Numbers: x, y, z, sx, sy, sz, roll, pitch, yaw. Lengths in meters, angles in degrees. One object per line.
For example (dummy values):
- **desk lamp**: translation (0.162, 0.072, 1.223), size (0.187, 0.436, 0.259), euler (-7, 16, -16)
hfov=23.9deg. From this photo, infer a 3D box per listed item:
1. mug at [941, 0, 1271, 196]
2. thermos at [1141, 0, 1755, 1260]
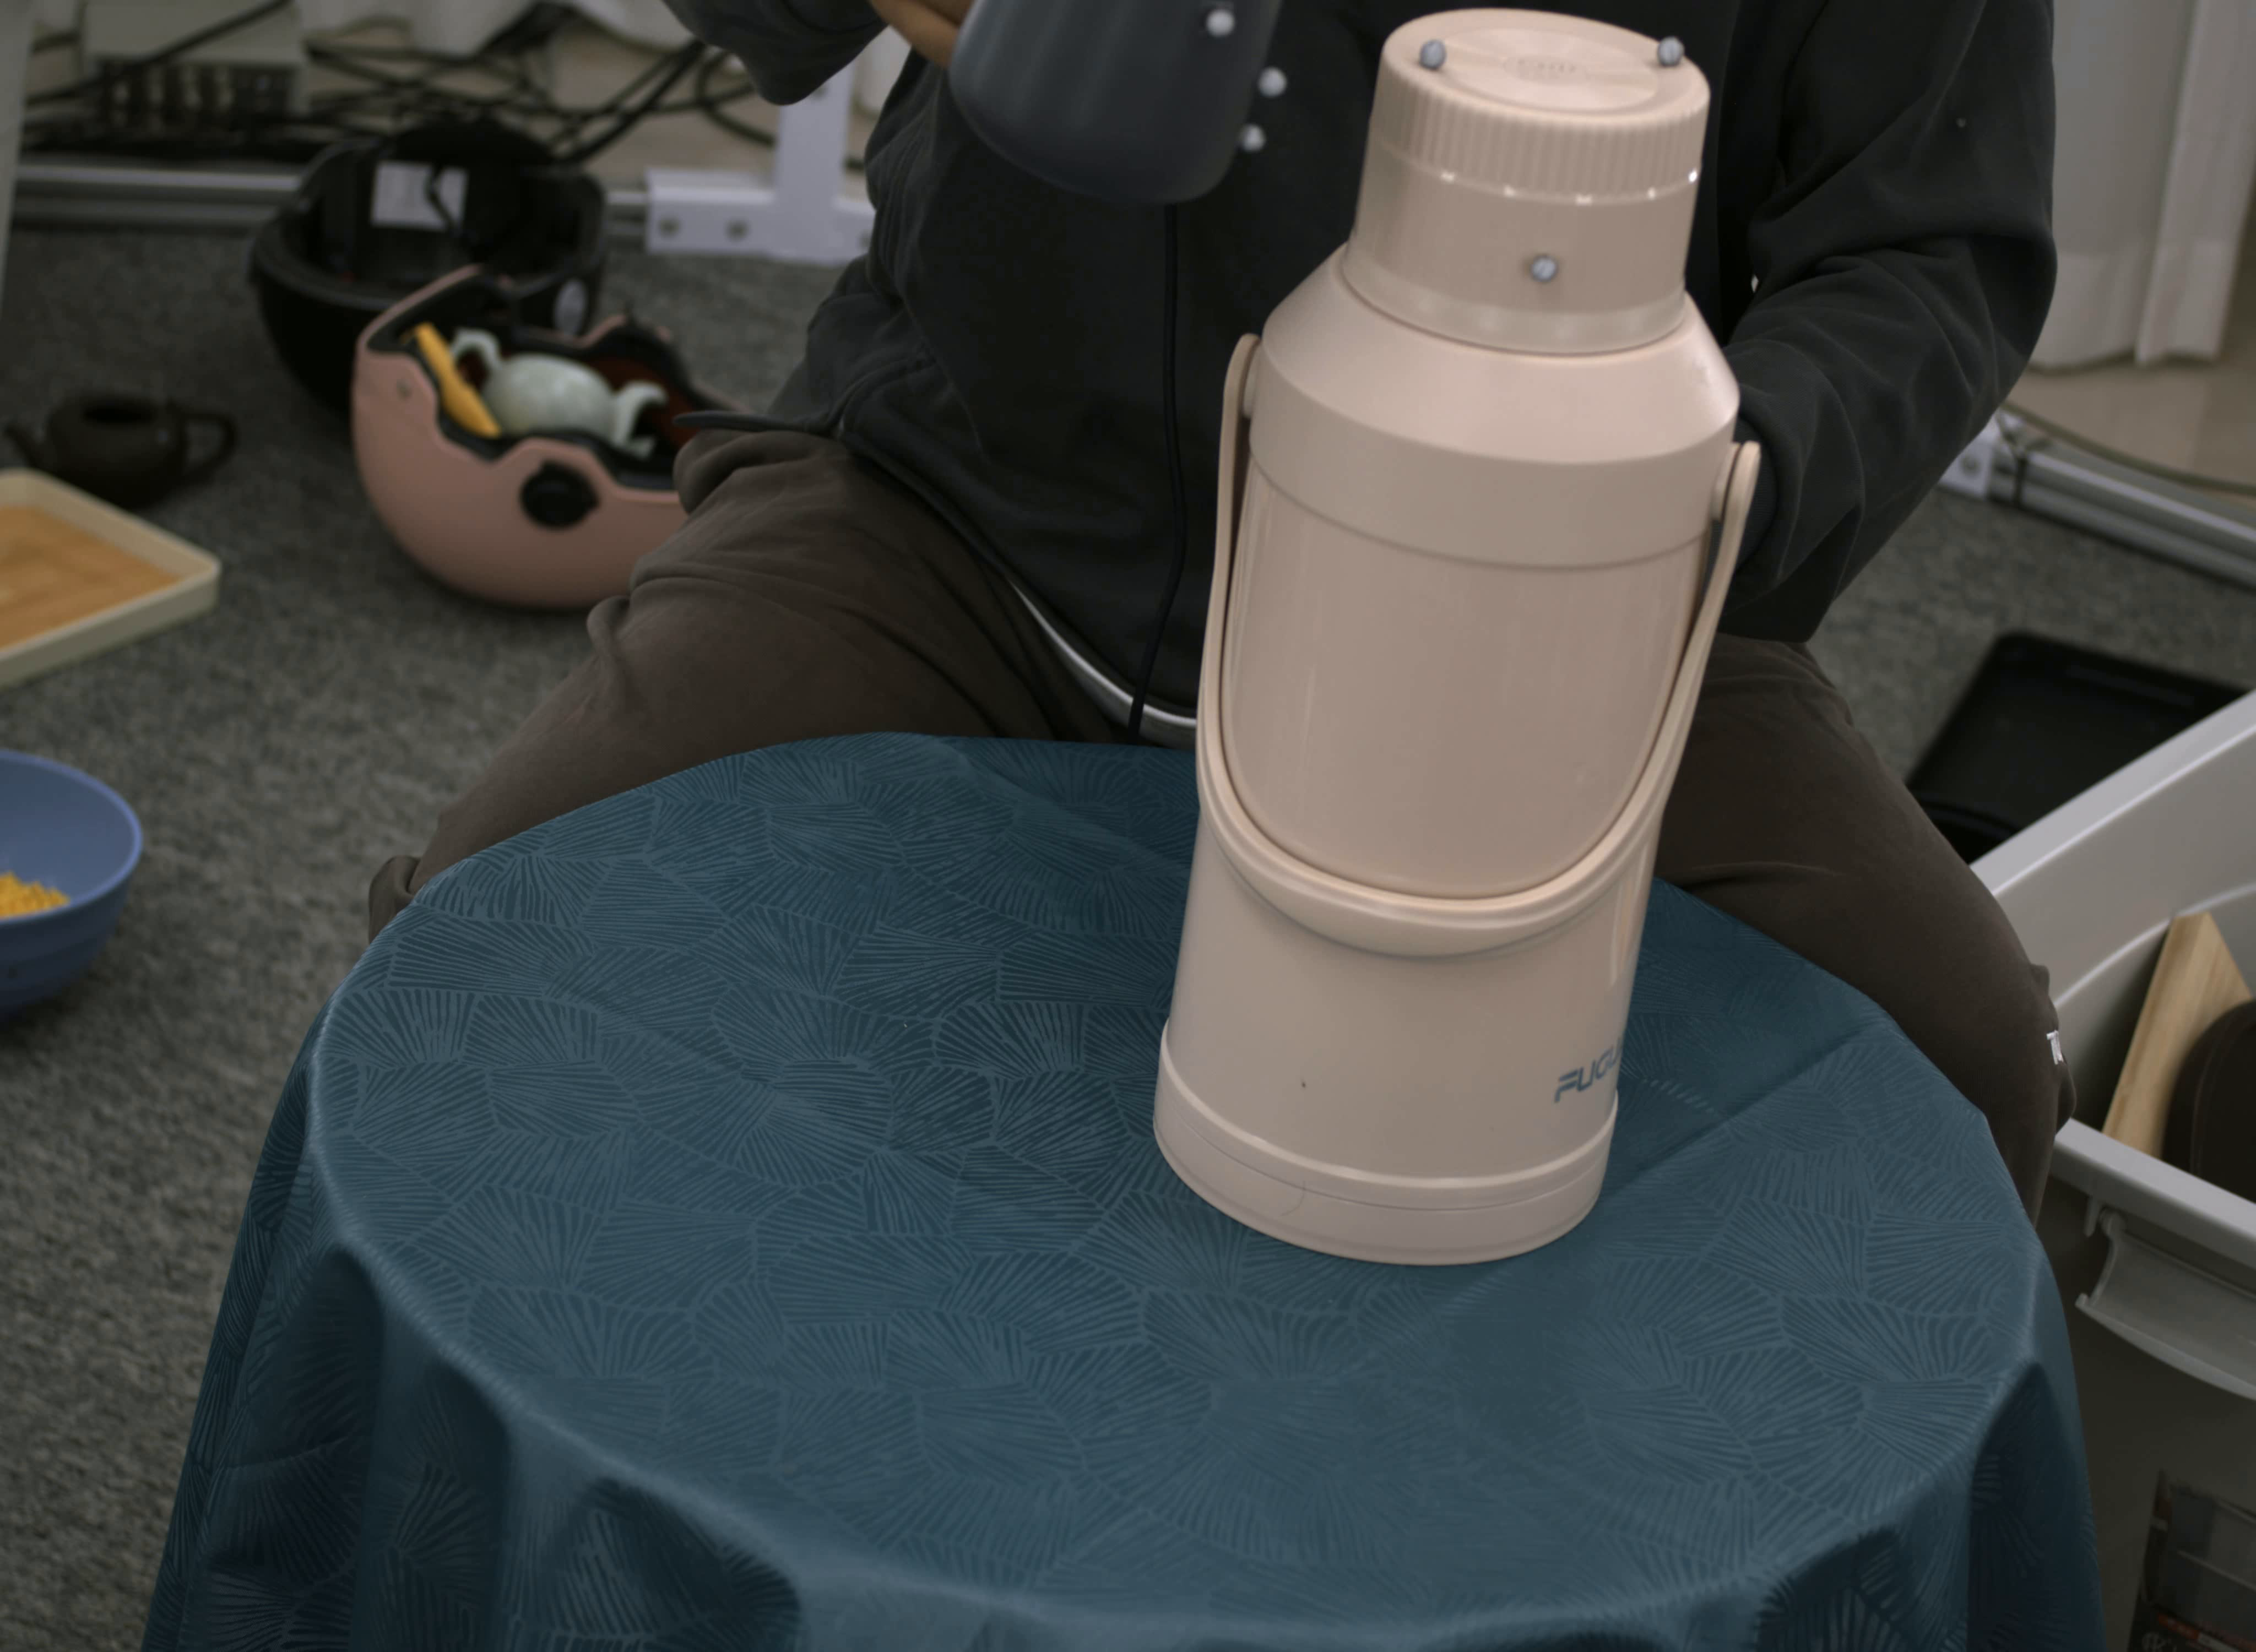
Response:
- **mug**: translation (-0.009, -0.259, 1.650), size (0.093, 0.090, 0.124), euler (6, 30, -33)
- **thermos**: translation (0.112, -0.071, 1.778), size (0.175, 0.405, 0.207), euler (13, 27, 11)
